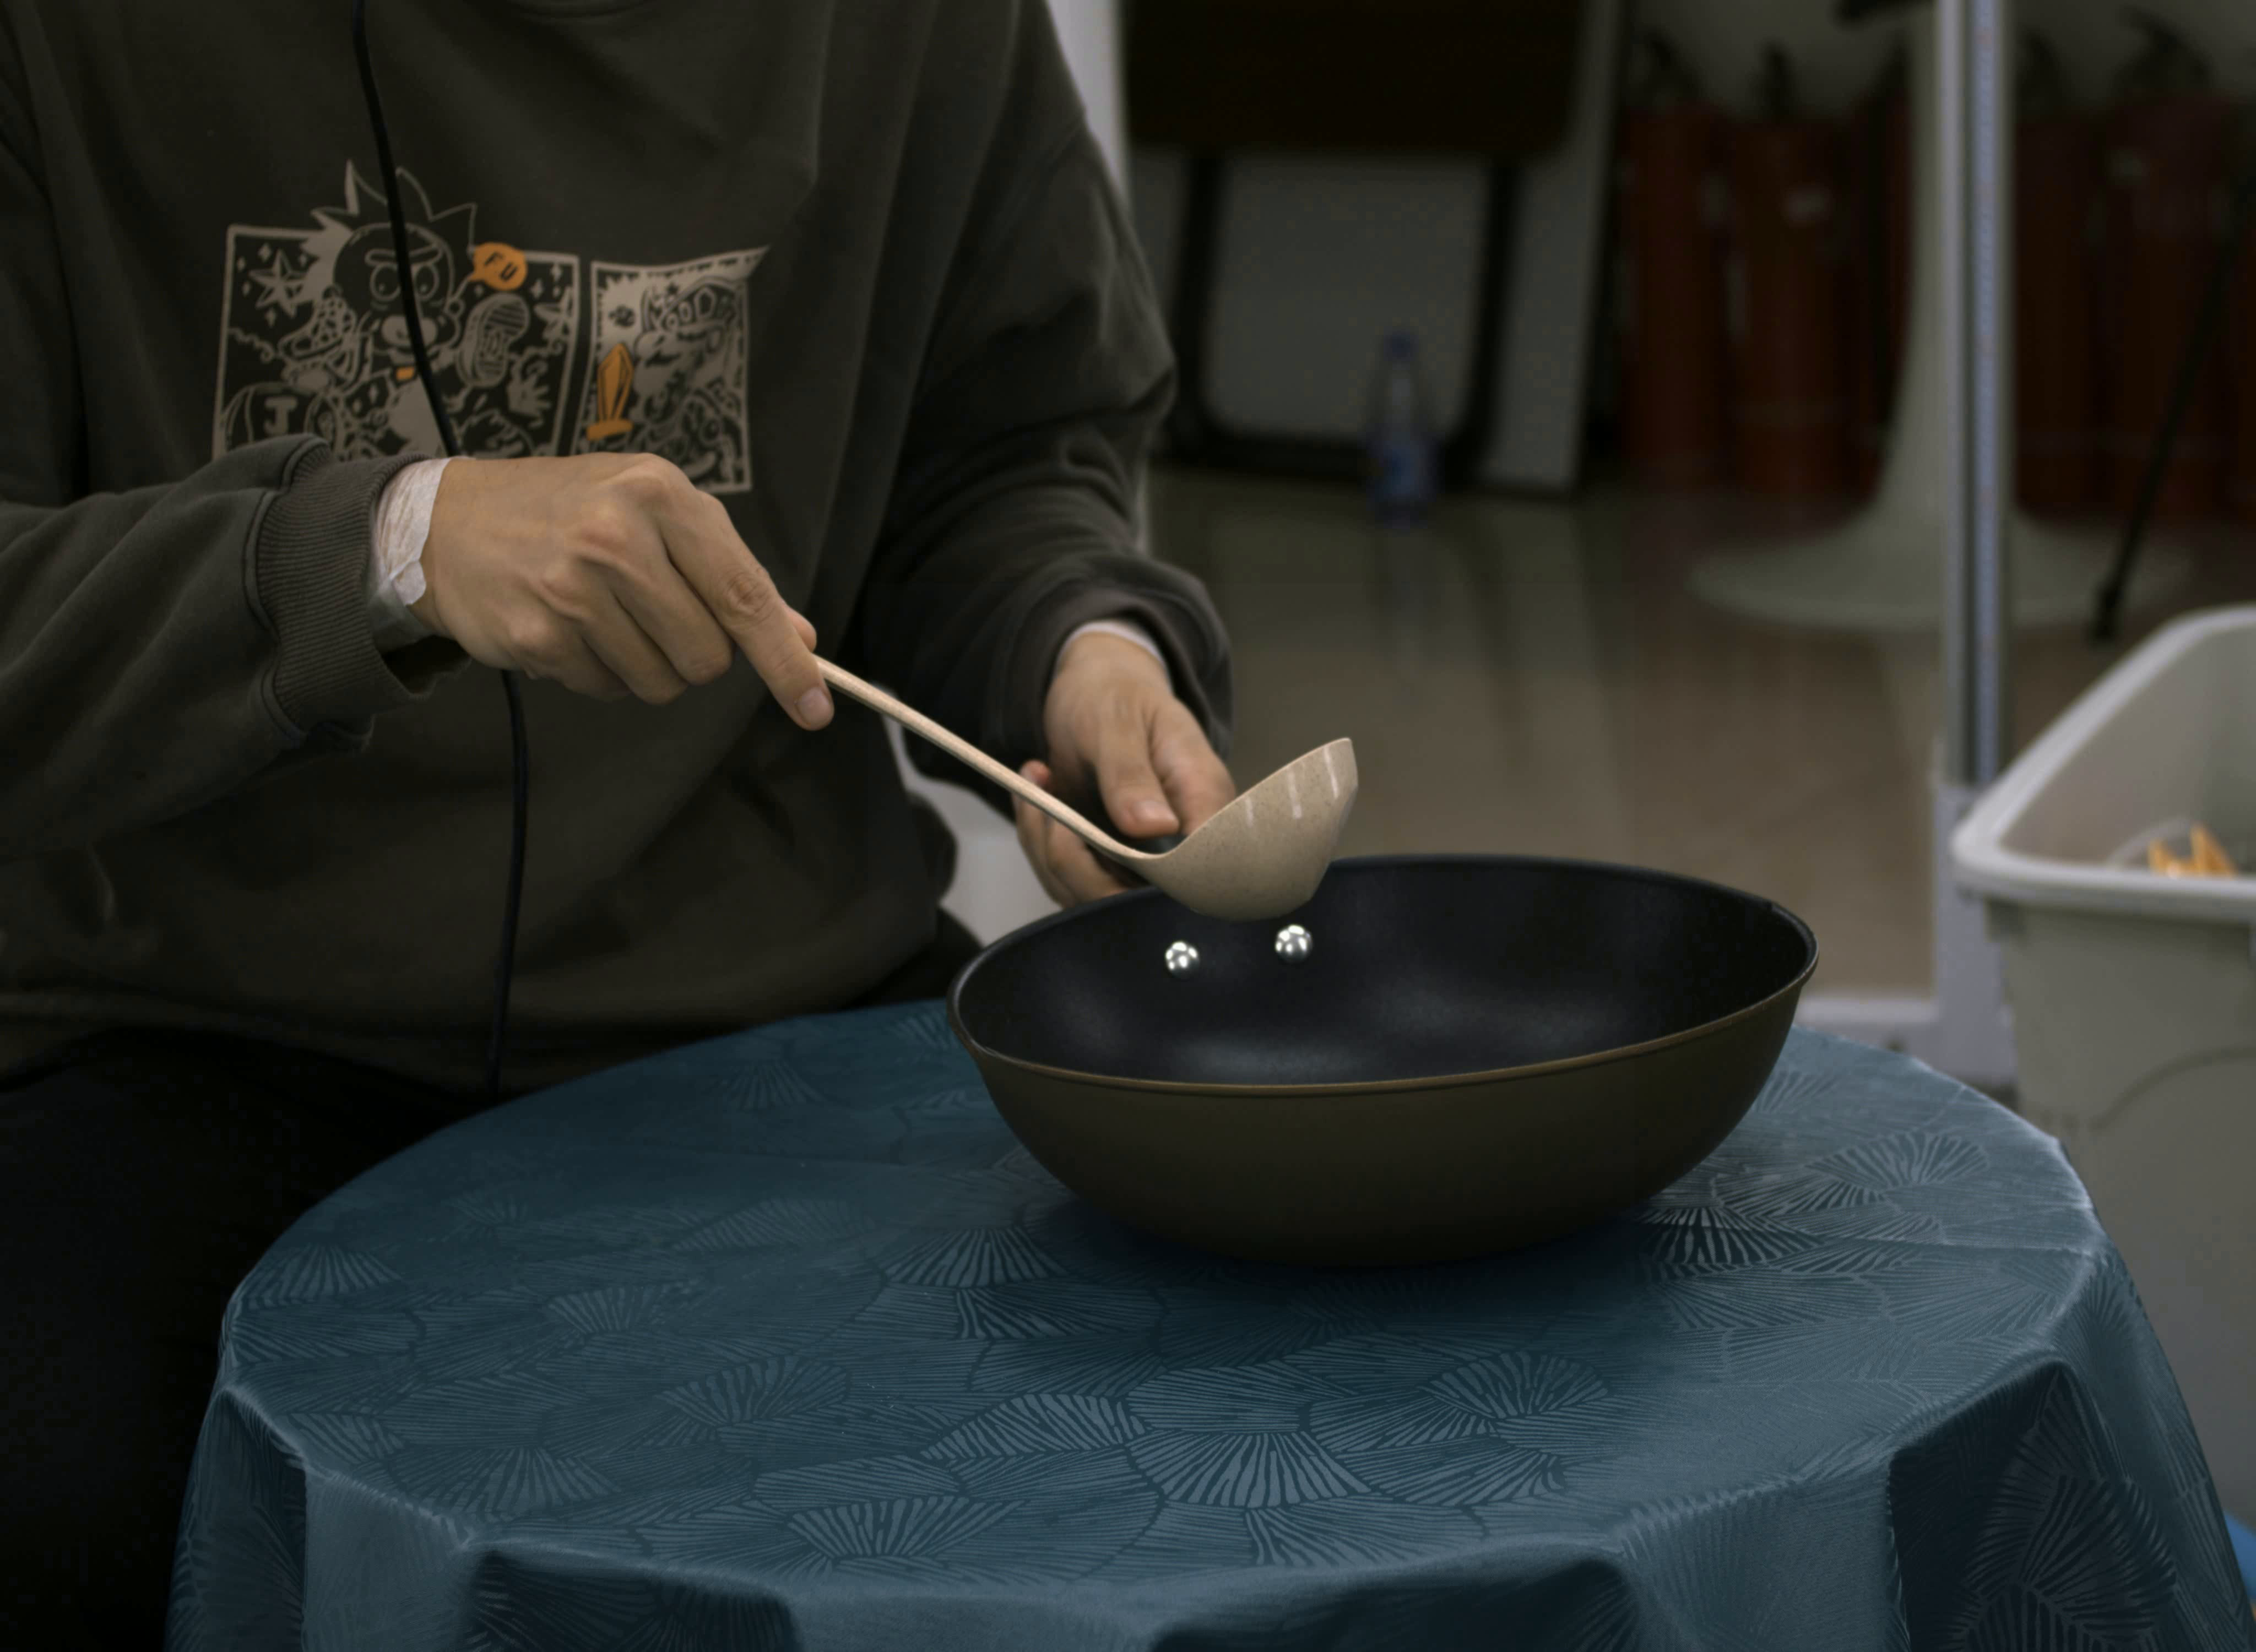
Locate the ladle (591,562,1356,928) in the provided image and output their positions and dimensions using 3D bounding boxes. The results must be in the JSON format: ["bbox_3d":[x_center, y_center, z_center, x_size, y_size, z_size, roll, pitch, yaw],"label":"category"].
[{"bbox_3d":[-0.045,-0.051,1.716,0.253,0.073,0.072,30,-2,7],"label":"ladle"}]

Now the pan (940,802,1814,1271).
[{"bbox_3d":[0.050,0.067,1.816,0.282,0.088,0.467,-9,12,-19],"label":"pan"}]
